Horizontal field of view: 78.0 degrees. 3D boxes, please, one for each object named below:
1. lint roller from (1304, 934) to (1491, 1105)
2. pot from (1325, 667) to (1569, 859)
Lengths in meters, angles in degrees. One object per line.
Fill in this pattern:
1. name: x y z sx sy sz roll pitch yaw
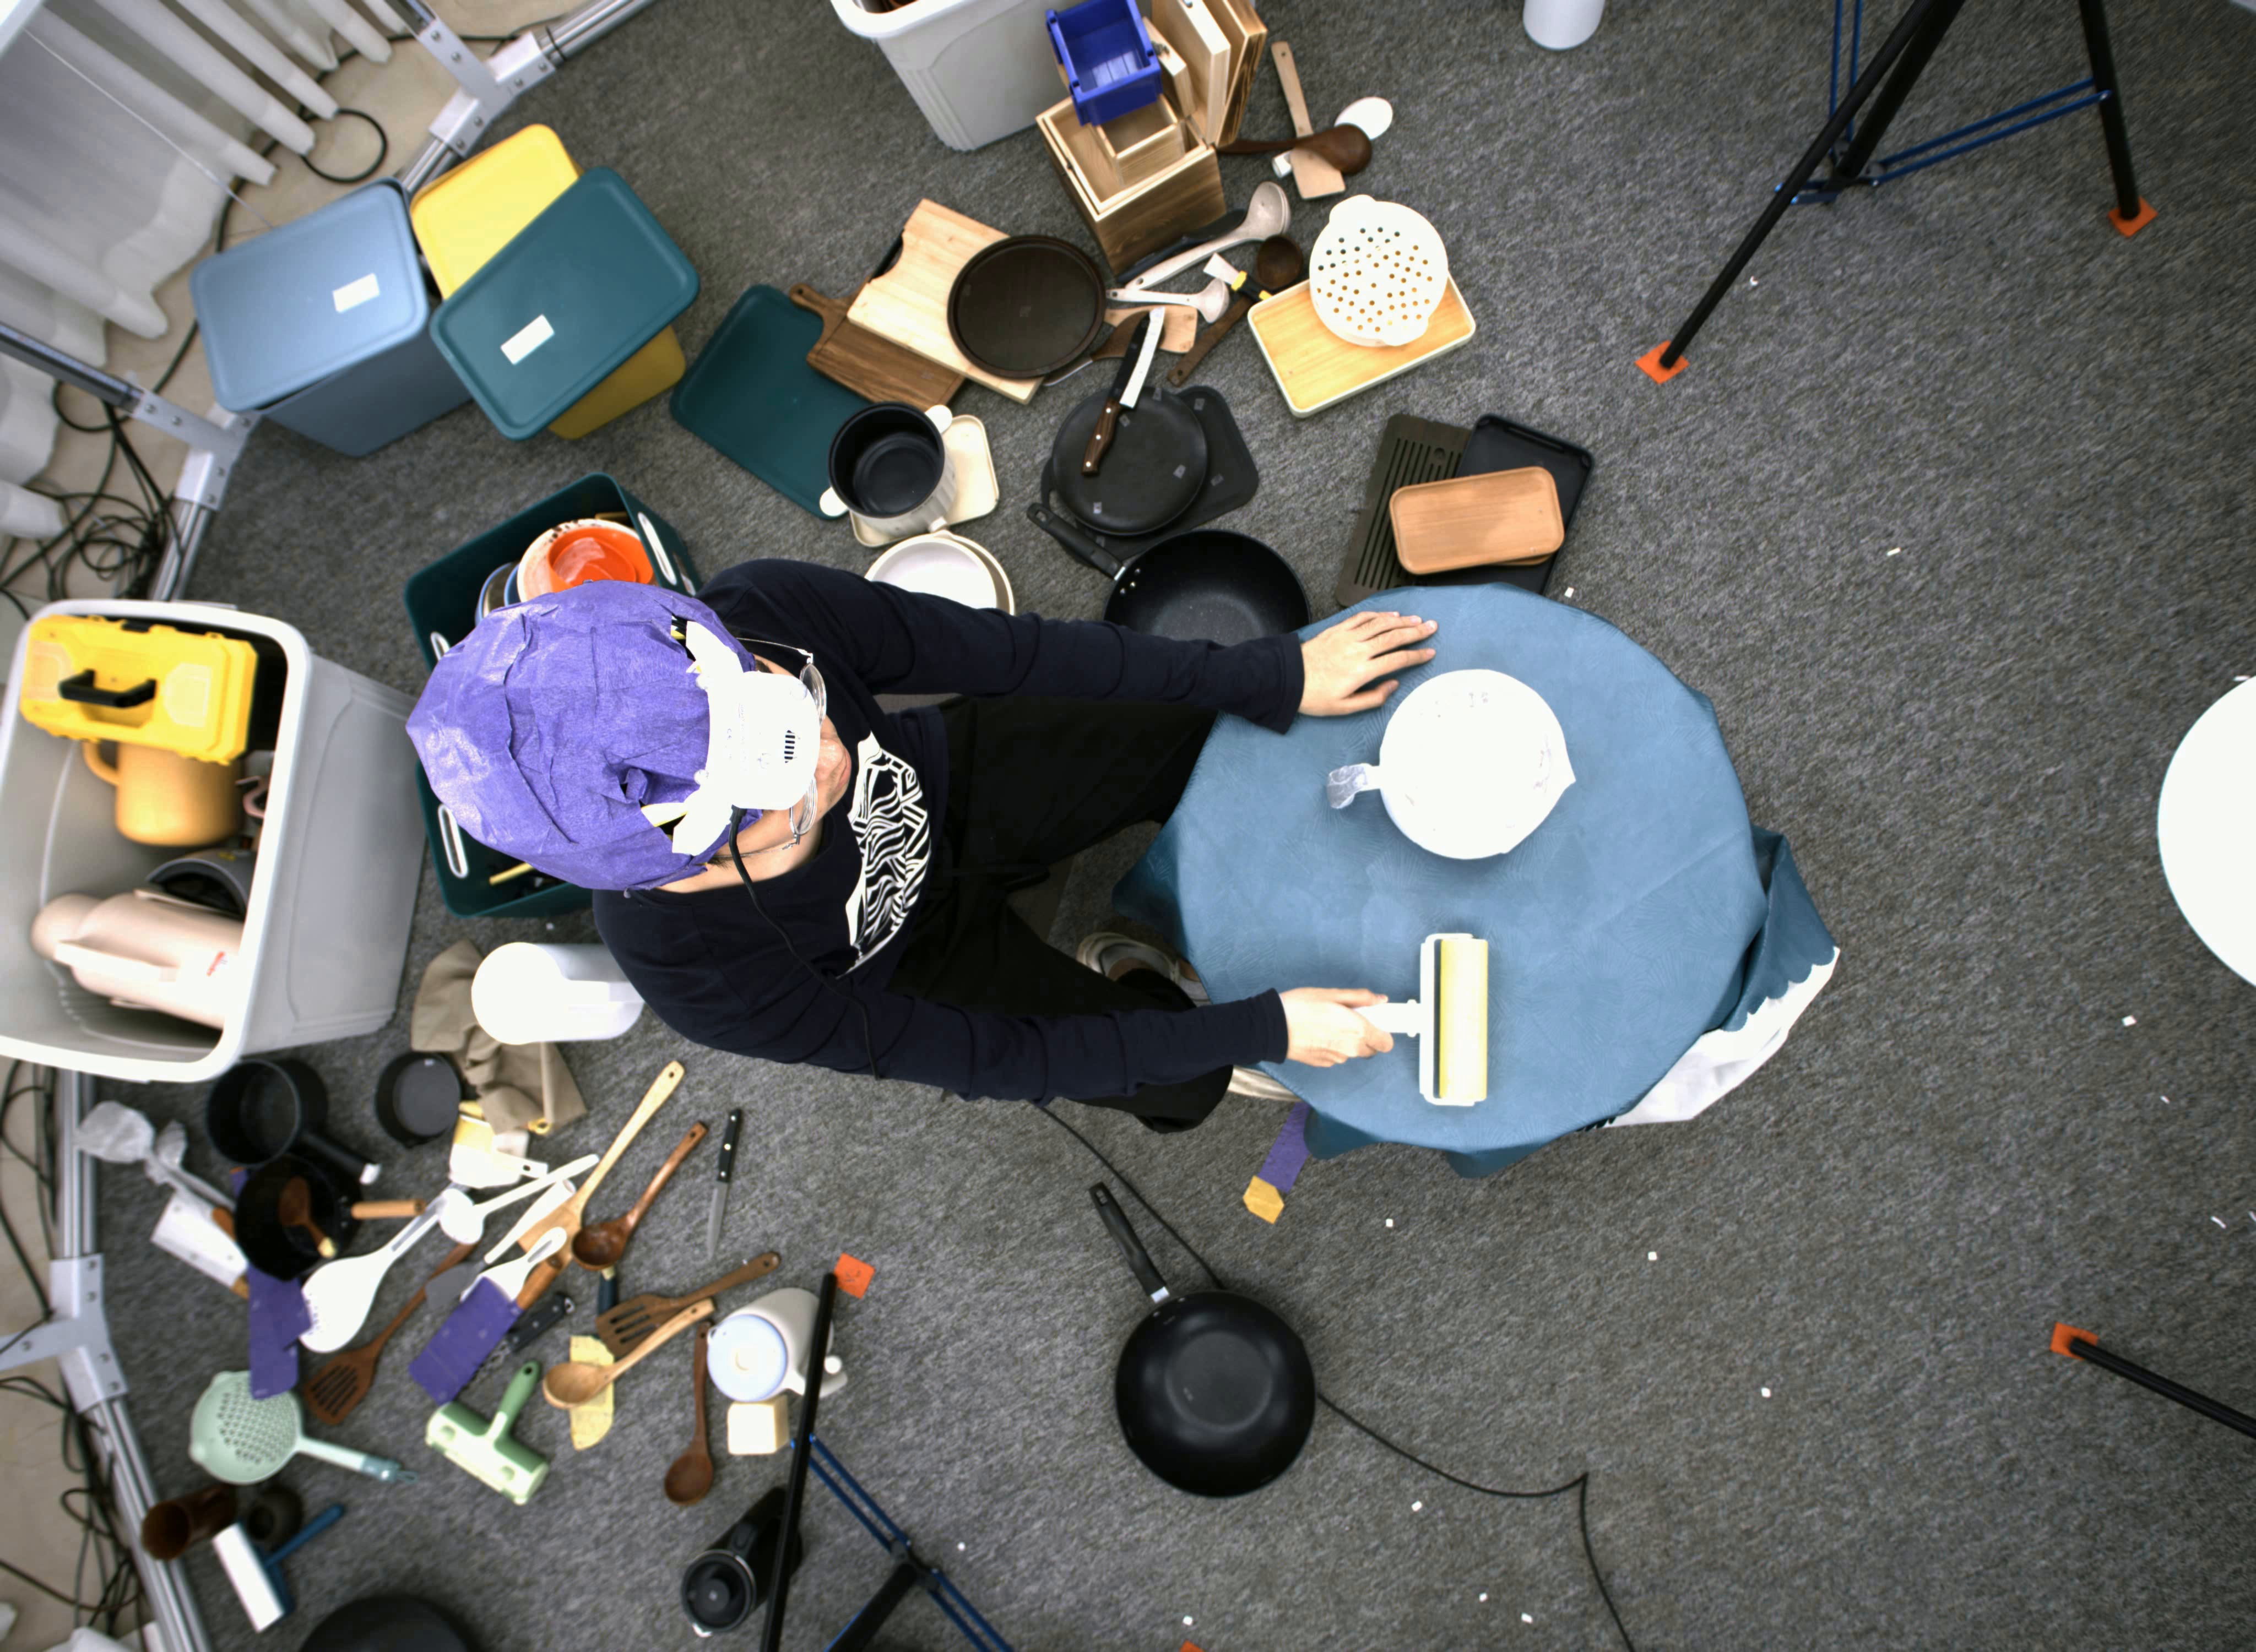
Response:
1. lint roller: 0.275 0.195 1.396 0.191 0.052 0.173 1 87 -15
2. pot: 0.316 -0.056 1.386 0.235 0.137 0.177 -9 83 9
